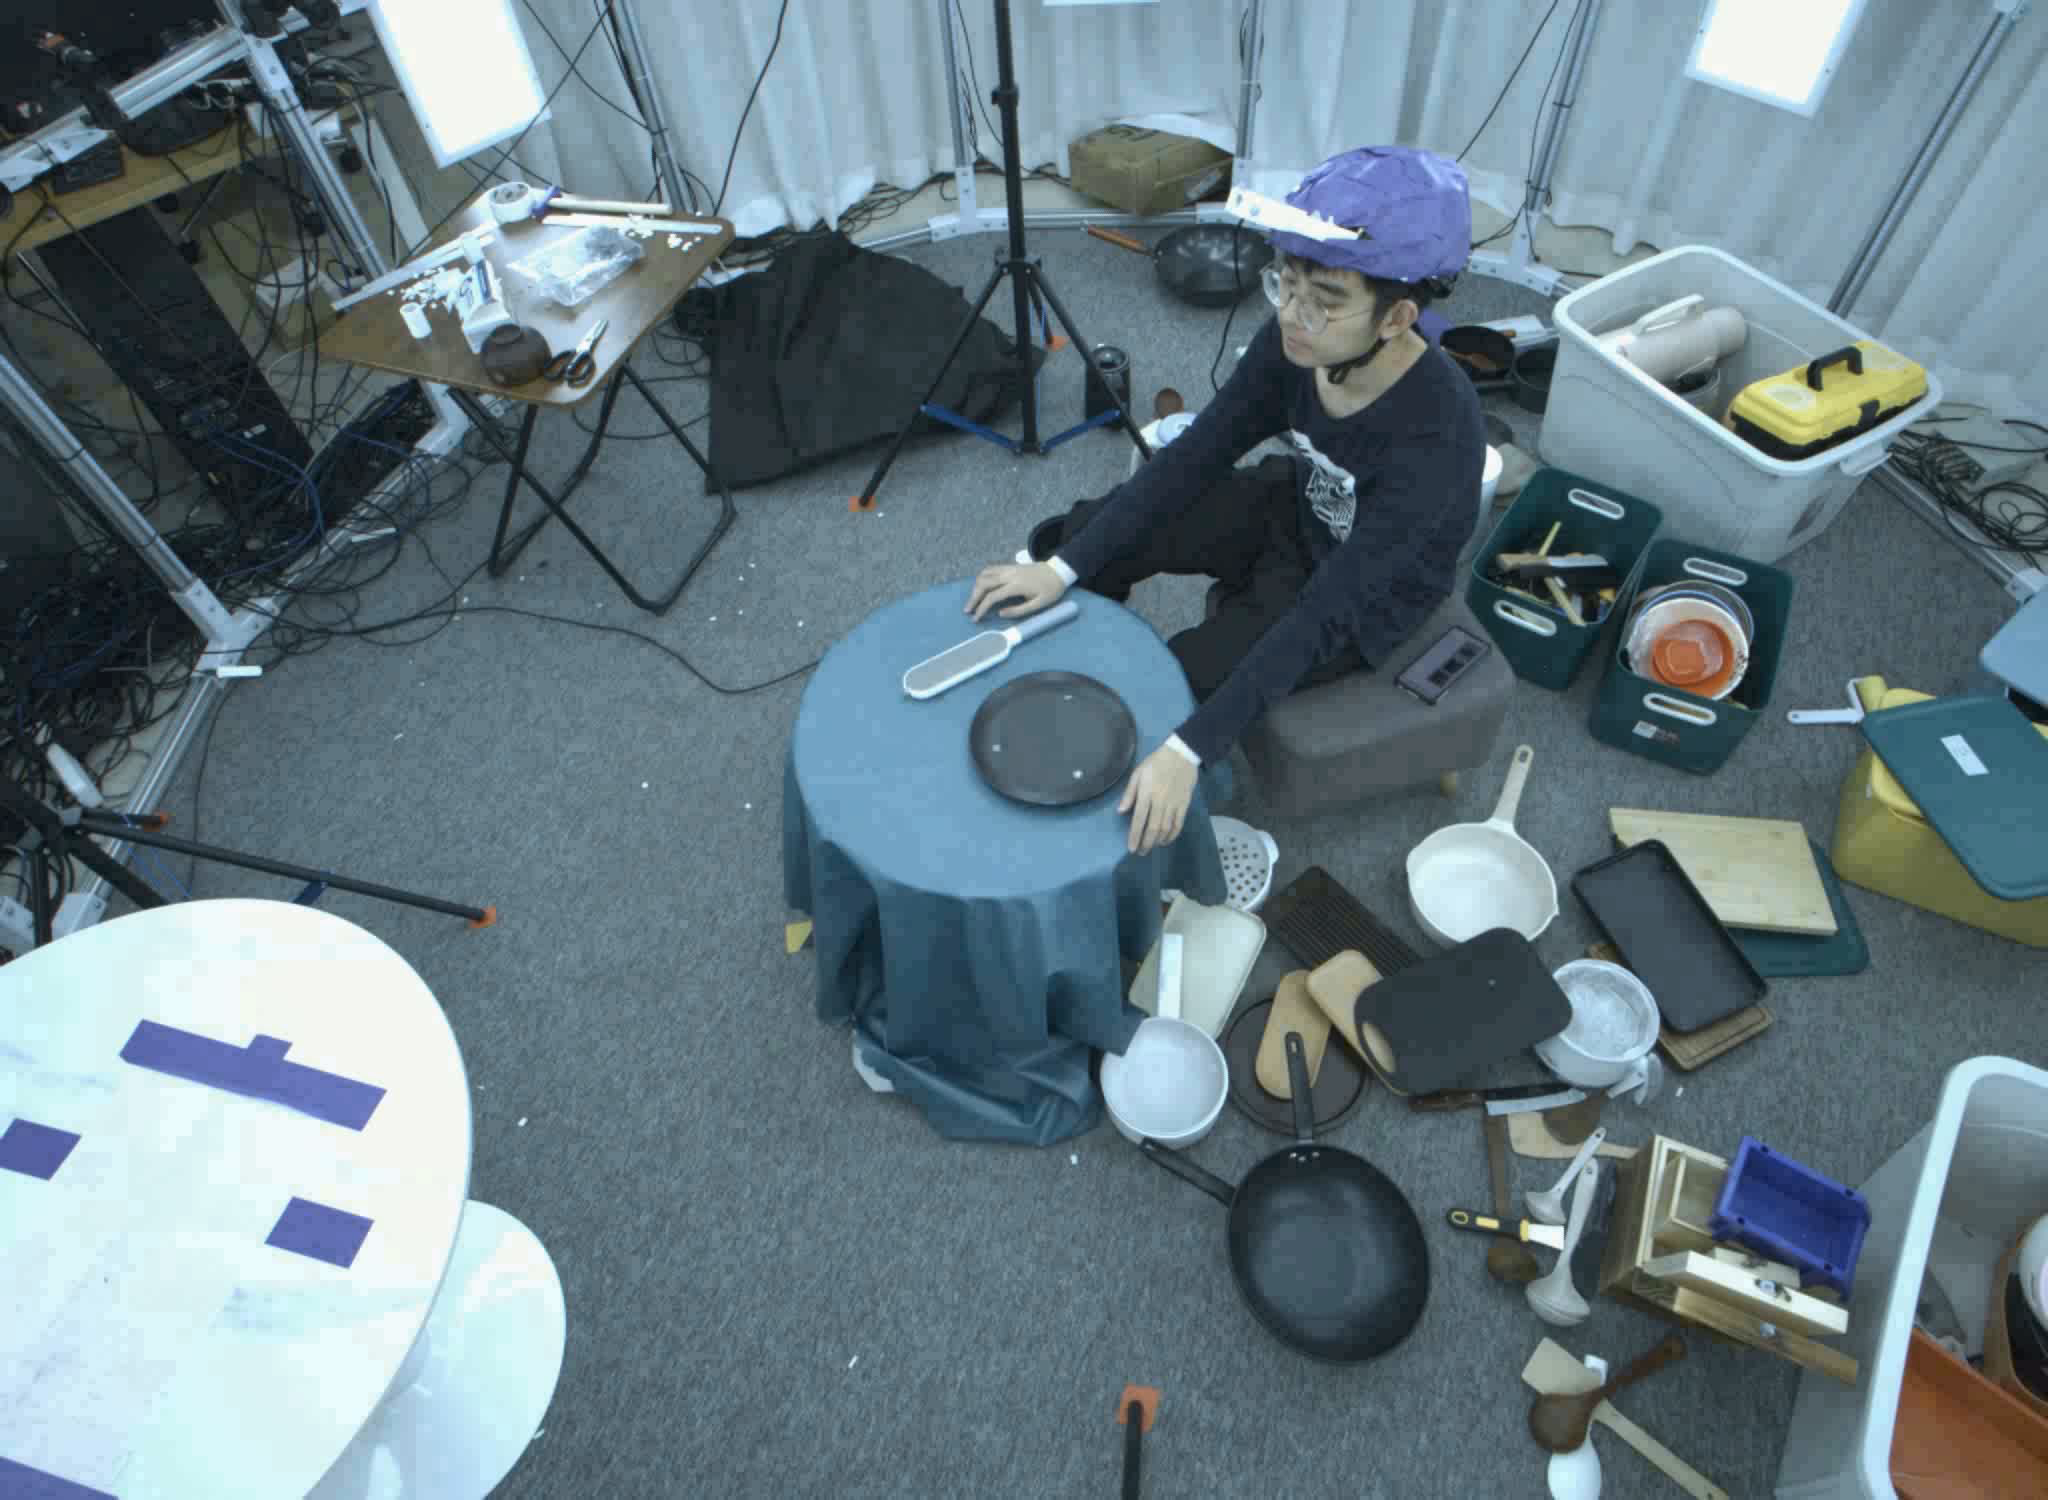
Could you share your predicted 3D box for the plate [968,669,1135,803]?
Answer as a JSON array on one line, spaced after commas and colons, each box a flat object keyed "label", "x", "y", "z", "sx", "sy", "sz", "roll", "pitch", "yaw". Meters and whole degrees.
[{"label": "plate", "x": 0.040, "y": -0.019, "z": 1.793, "sx": 0.244, "sy": 0.023, "sz": 0.242, "roll": 0, "pitch": 55, "yaw": 1}]

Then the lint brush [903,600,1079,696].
[{"label": "lint brush", "x": -0.047, "y": -0.160, "z": 1.894, "sx": 0.311, "sy": 0.021, "sz": 0.059, "roll": -28, "pitch": 53, "yaw": -17}]
